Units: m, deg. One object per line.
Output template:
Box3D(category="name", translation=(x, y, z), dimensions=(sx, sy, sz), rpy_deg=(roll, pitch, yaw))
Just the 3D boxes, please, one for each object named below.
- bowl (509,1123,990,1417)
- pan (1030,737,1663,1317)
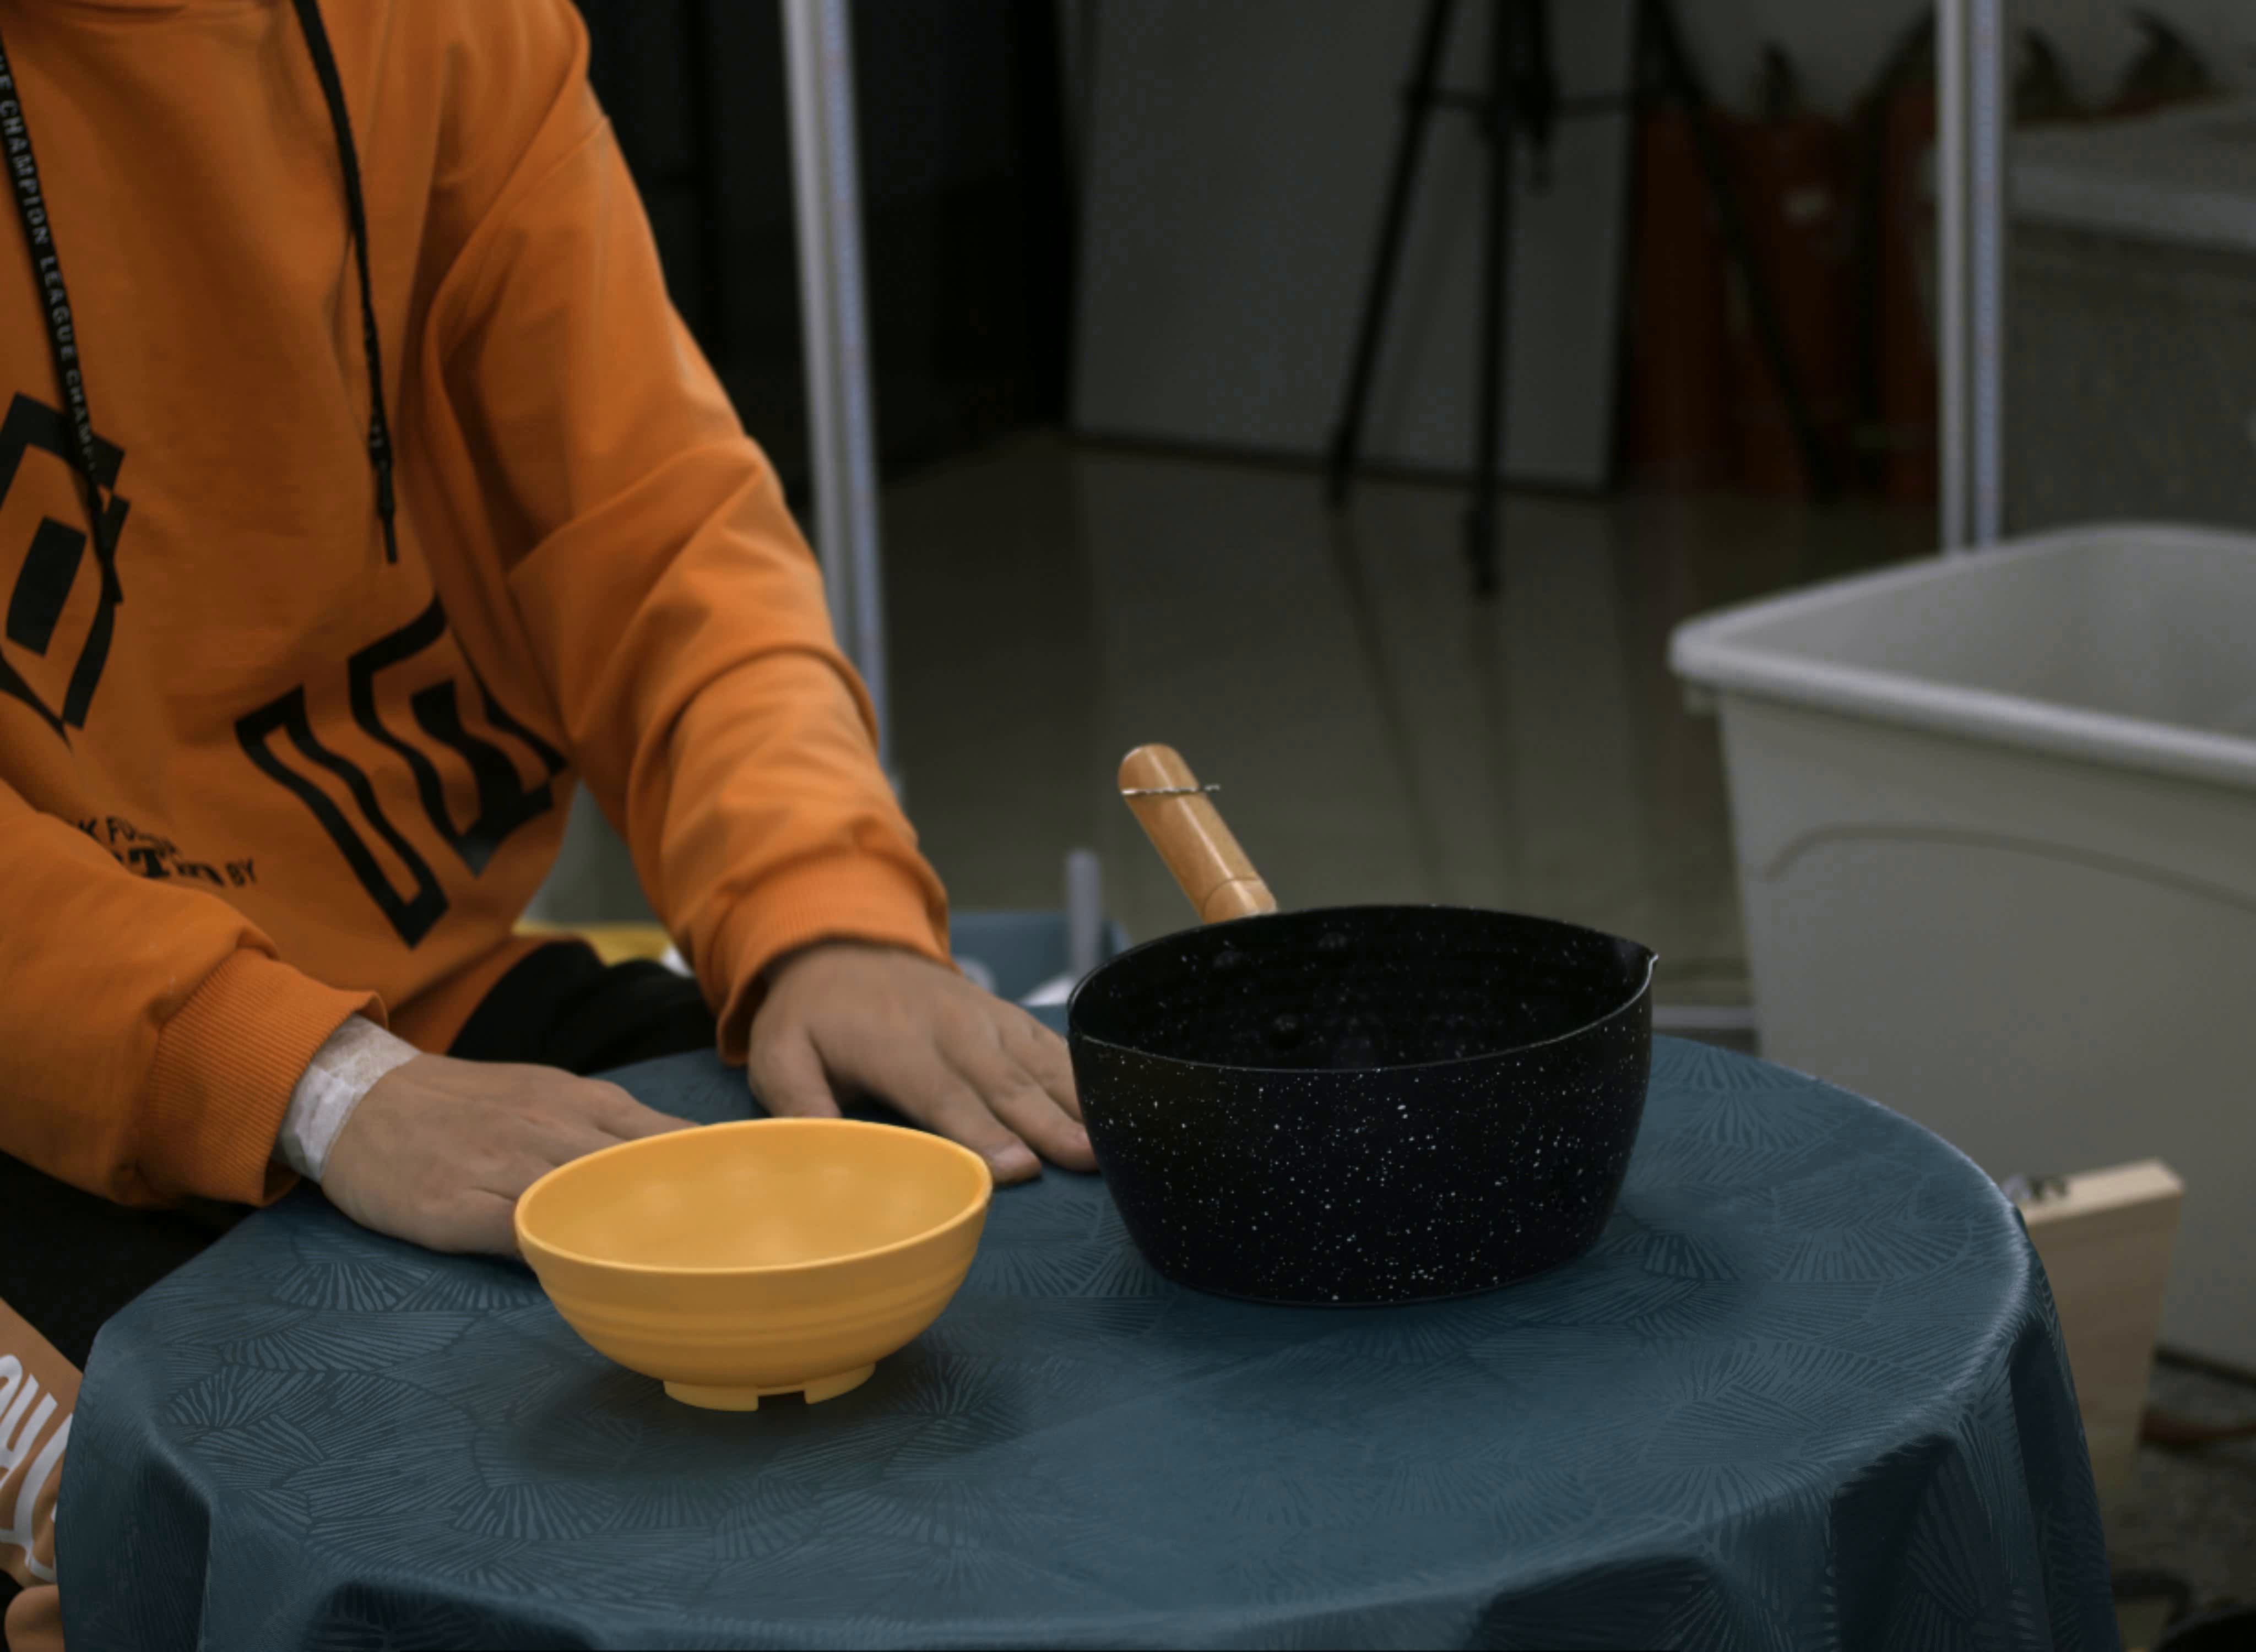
Box3D(category="bowl", translation=(-0.111, 0.137, 1.616), dimensions=(0.143, 0.061, 0.145), rpy_deg=(-3, 13, 0))
Box3D(category="pan", translation=(0.053, 0.060, 1.774), dimensions=(0.203, 0.109, 0.345), rpy_deg=(-9, 16, -14))
